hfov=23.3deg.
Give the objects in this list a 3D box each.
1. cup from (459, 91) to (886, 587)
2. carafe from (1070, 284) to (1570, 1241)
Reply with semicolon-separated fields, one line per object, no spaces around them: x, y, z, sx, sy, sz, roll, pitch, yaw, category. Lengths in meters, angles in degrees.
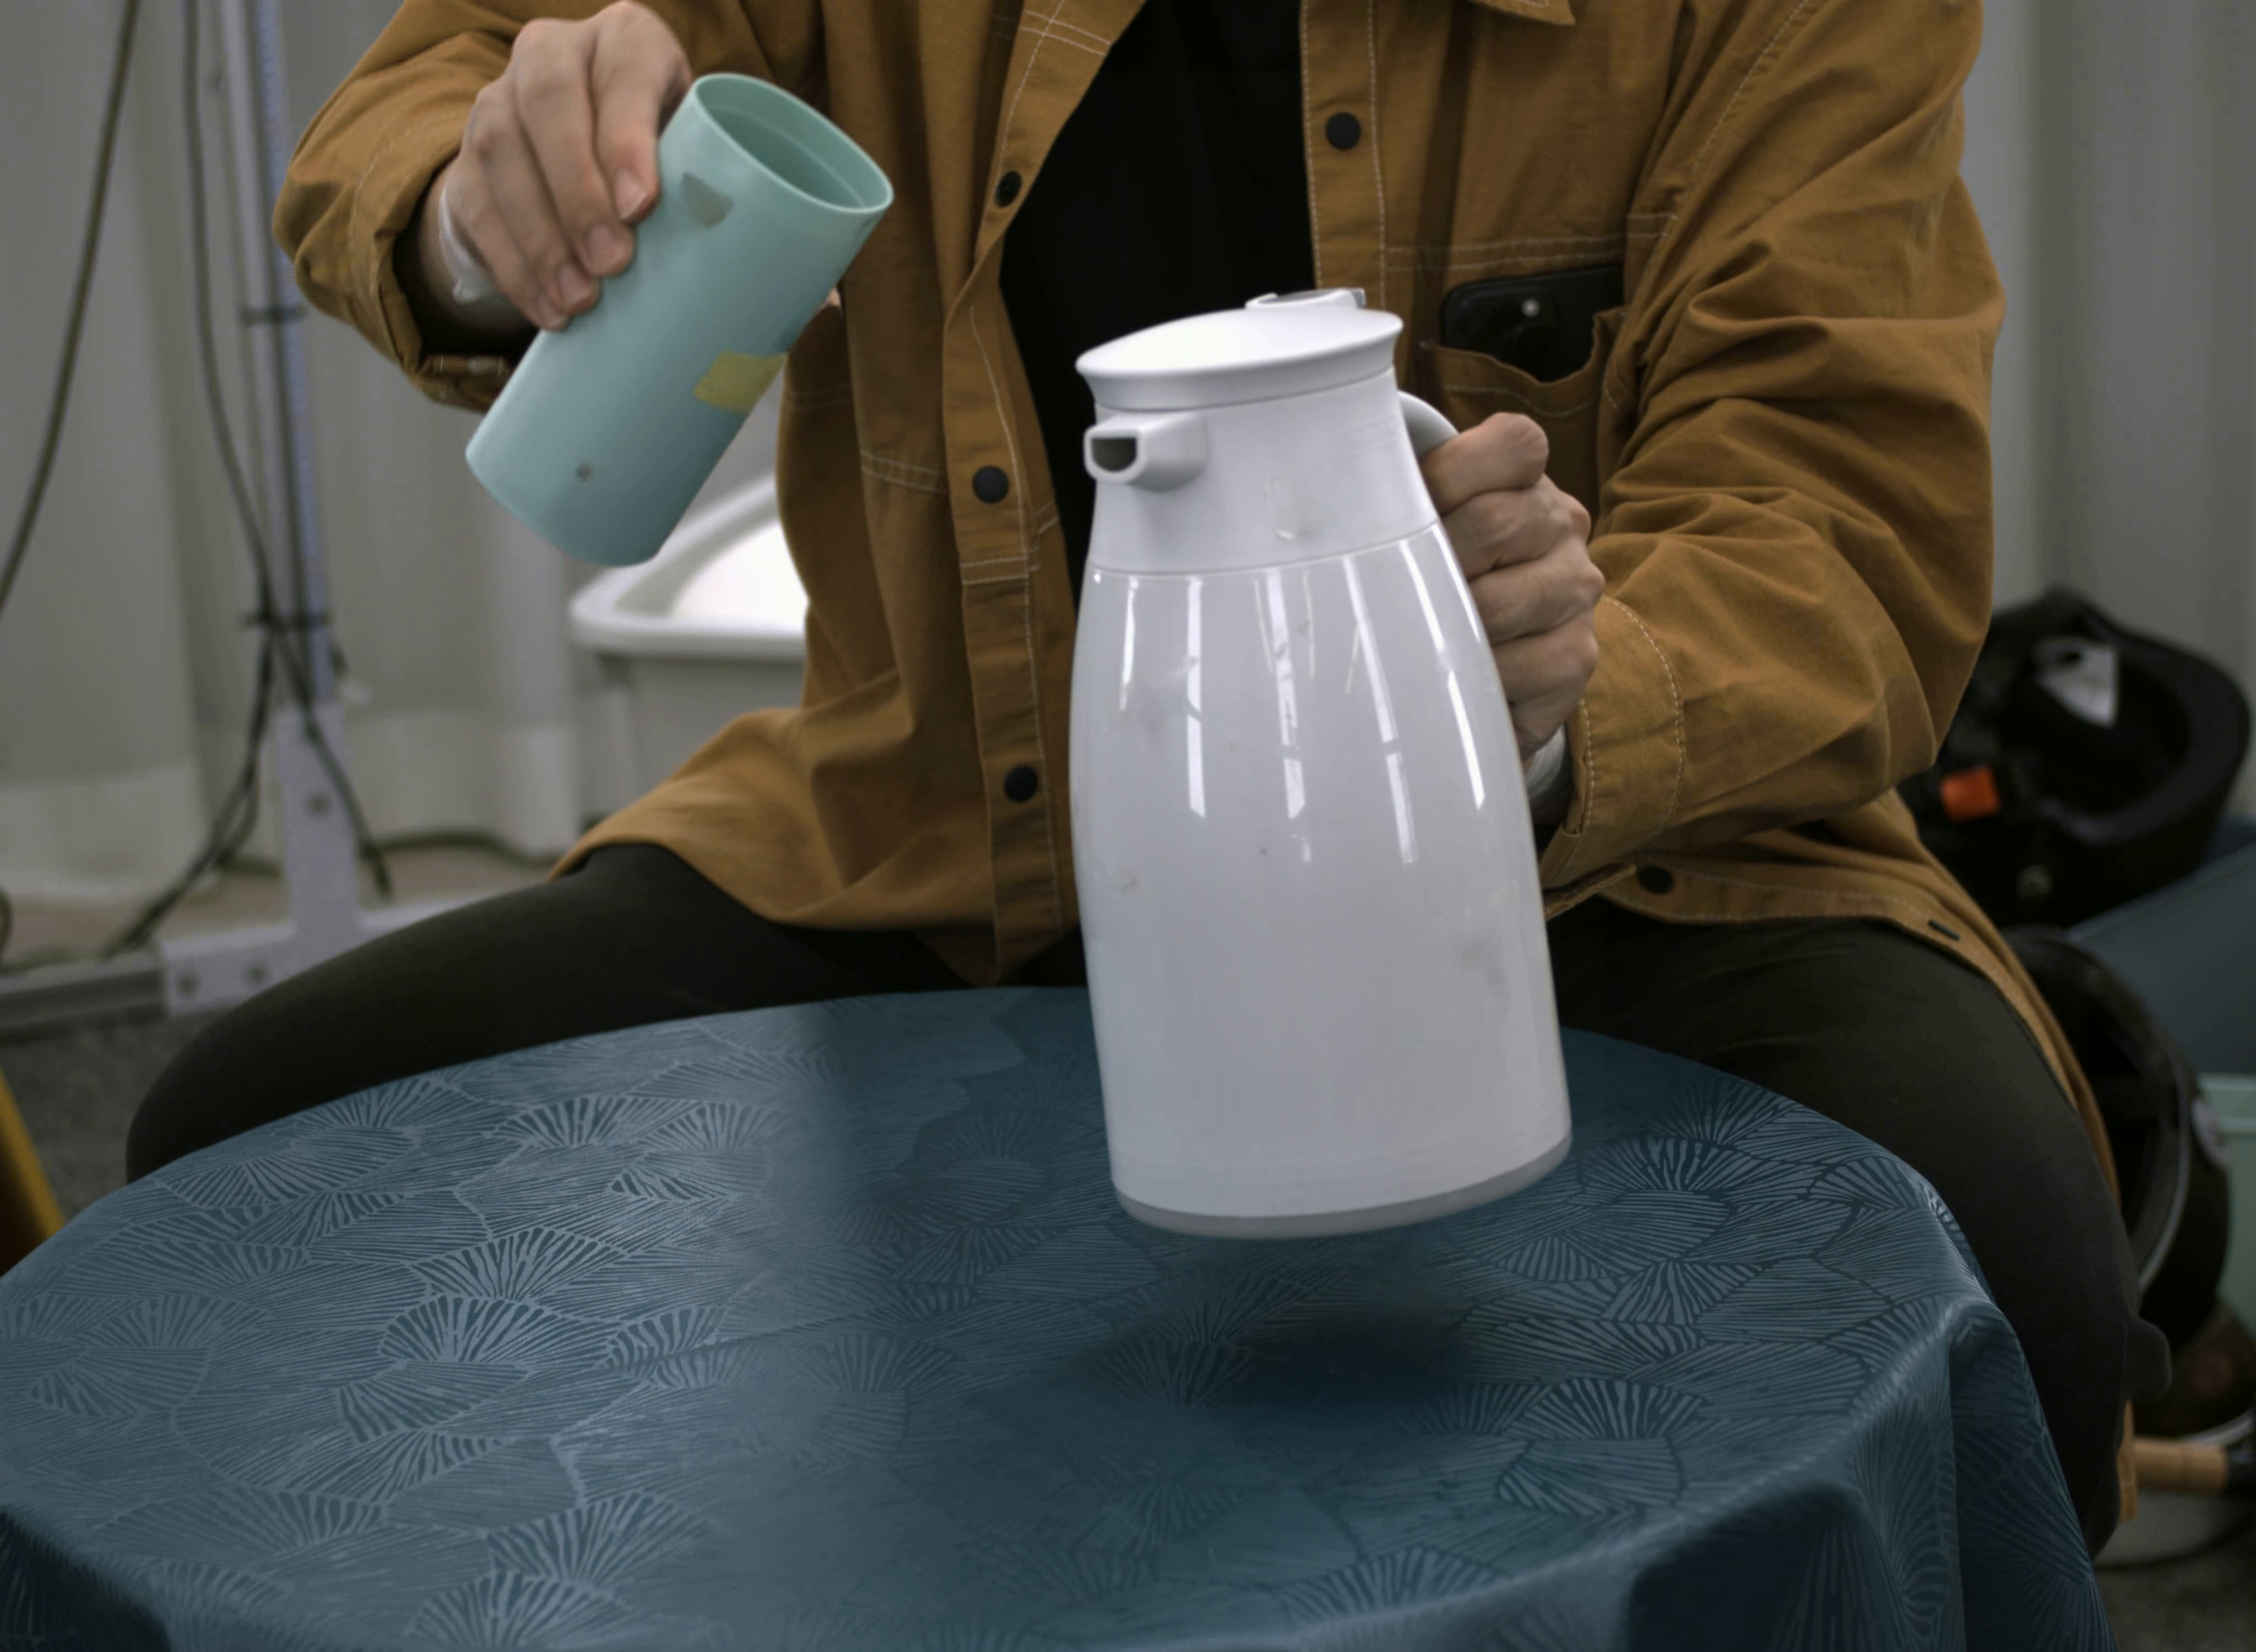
-0.131;-0.139;1.561;0.066;0.131;0.067;30;21;-13;cup
0.056;-0.026;1.550;0.133;0.248;0.167;1;13;37;carafe
